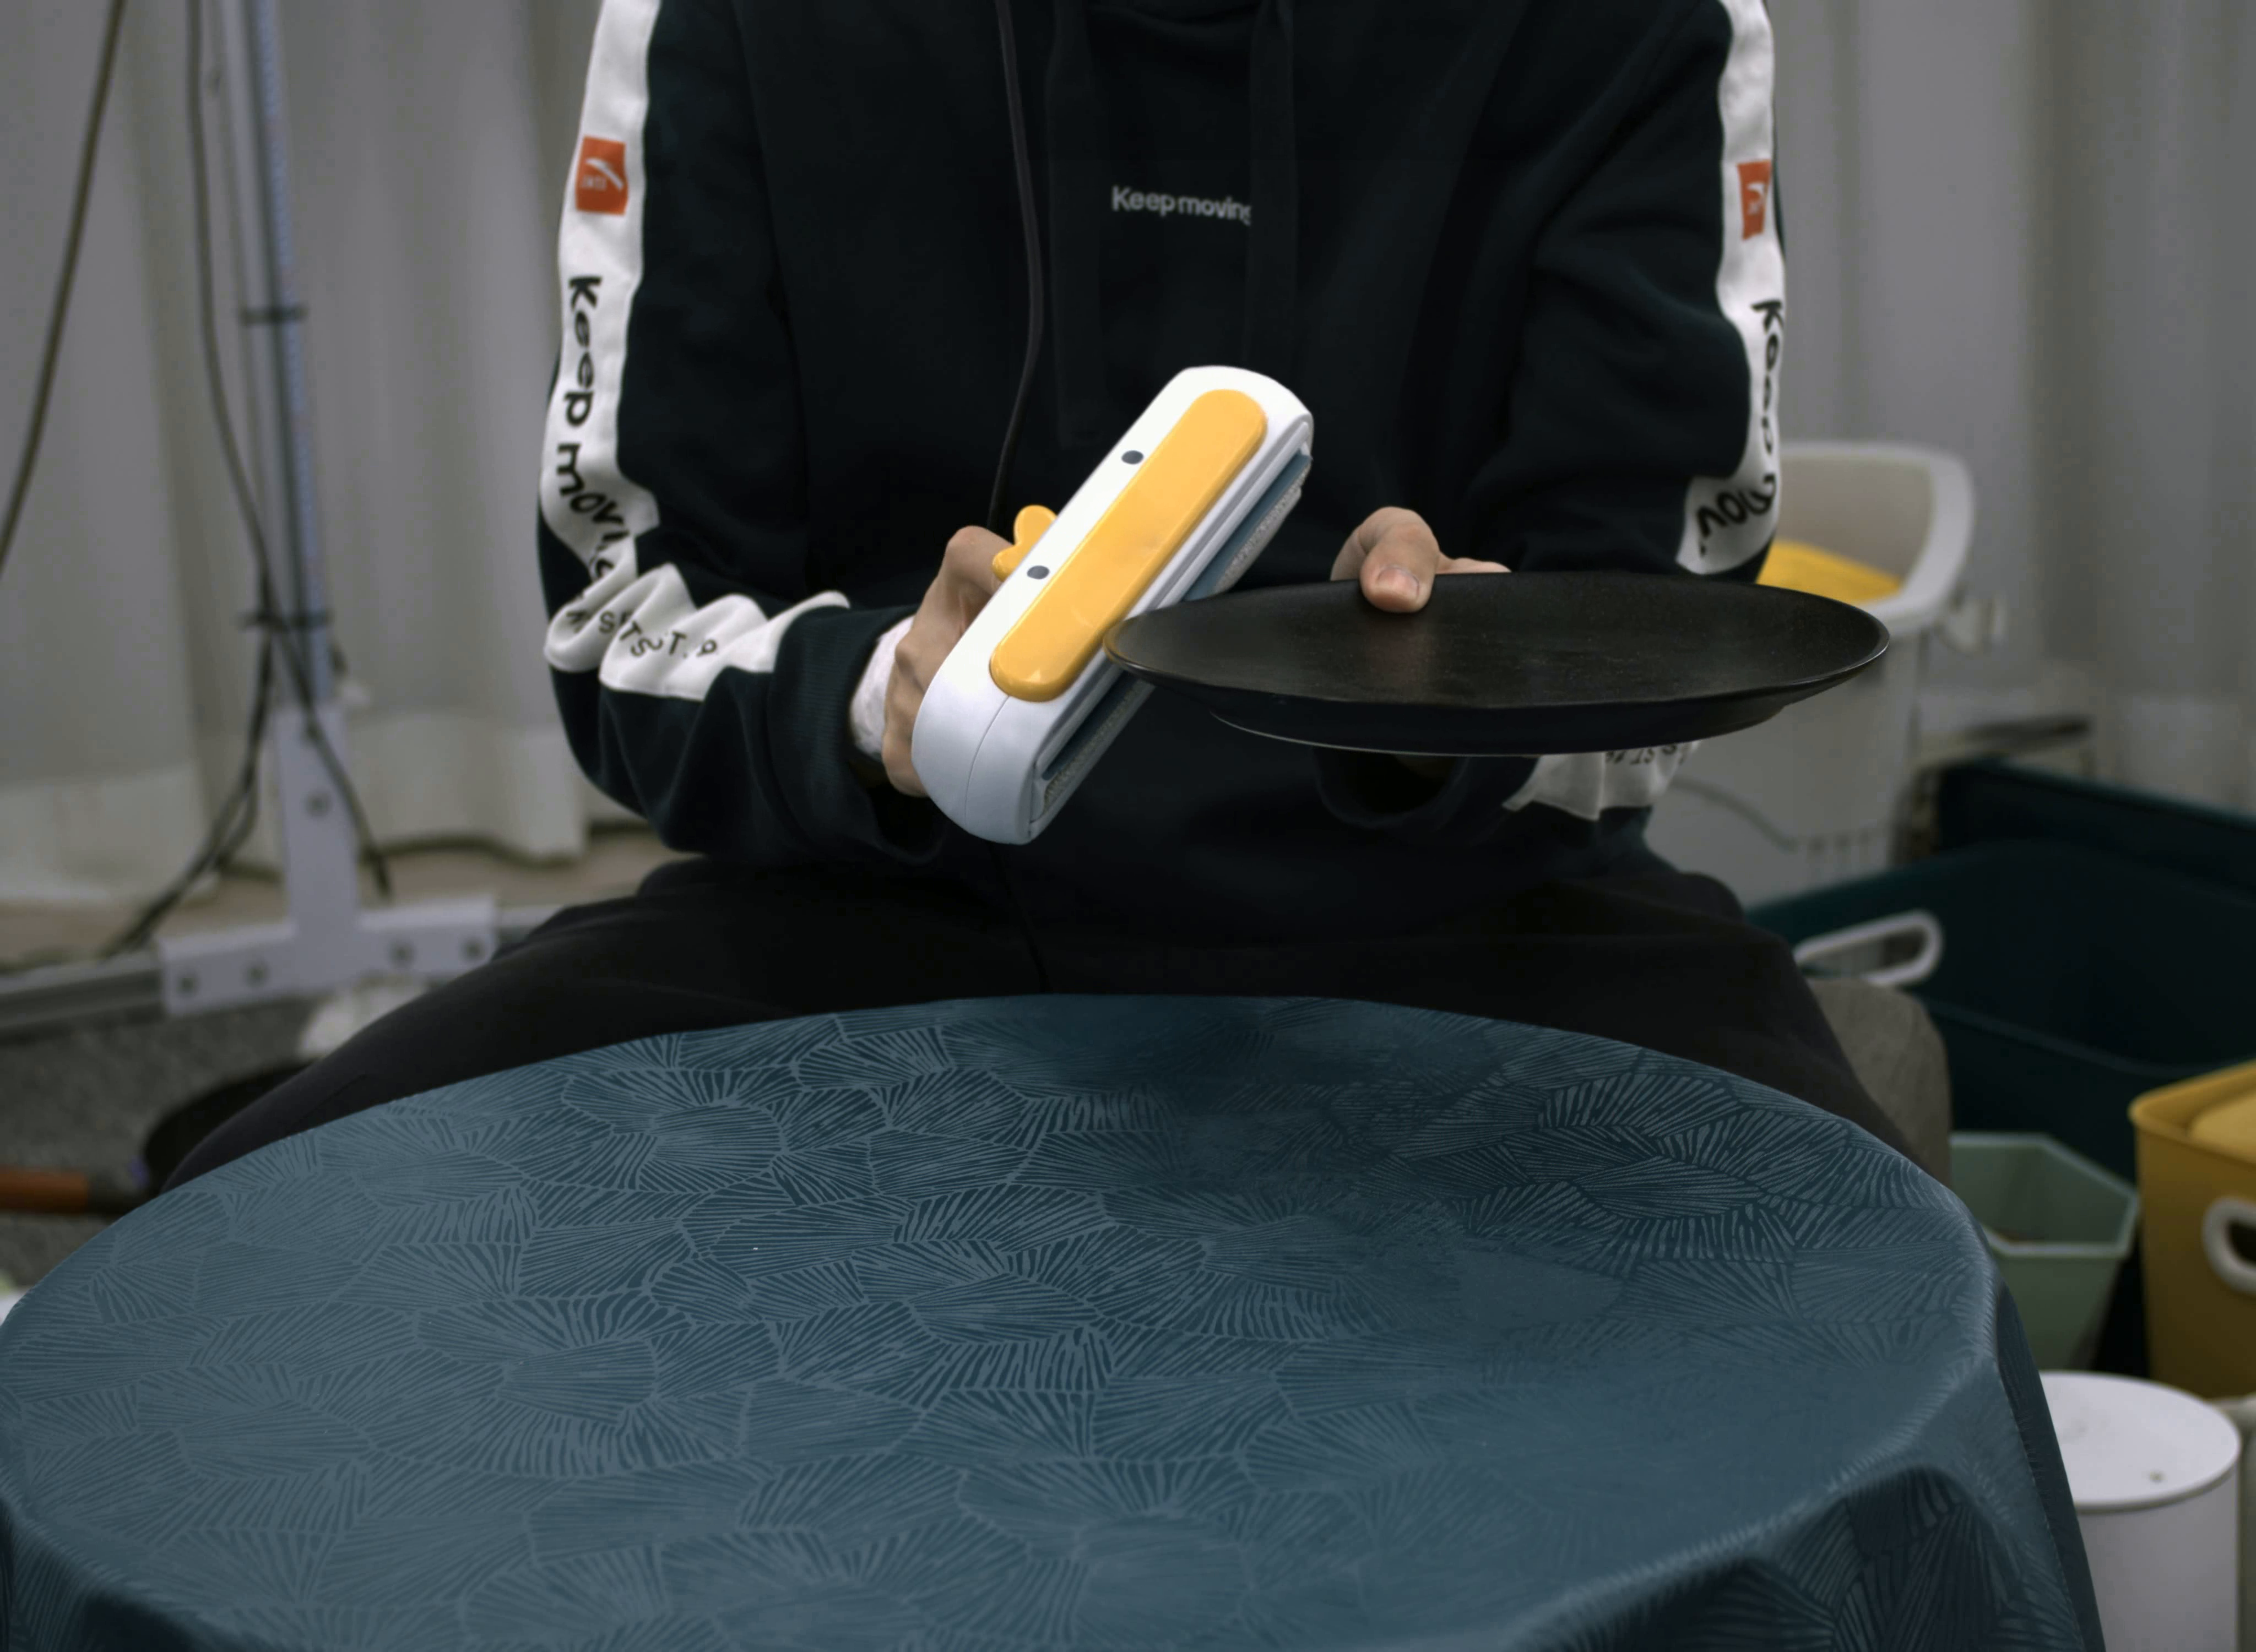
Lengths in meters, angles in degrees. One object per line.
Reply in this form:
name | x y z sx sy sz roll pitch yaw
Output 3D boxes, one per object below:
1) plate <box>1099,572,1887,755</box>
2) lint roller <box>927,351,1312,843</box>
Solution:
plate | 0.113 -0.050 1.696 0.243 0.023 0.245 -1 11 0
lint roller | -0.019 -0.051 1.843 0.074 0.190 0.195 28 54 6
